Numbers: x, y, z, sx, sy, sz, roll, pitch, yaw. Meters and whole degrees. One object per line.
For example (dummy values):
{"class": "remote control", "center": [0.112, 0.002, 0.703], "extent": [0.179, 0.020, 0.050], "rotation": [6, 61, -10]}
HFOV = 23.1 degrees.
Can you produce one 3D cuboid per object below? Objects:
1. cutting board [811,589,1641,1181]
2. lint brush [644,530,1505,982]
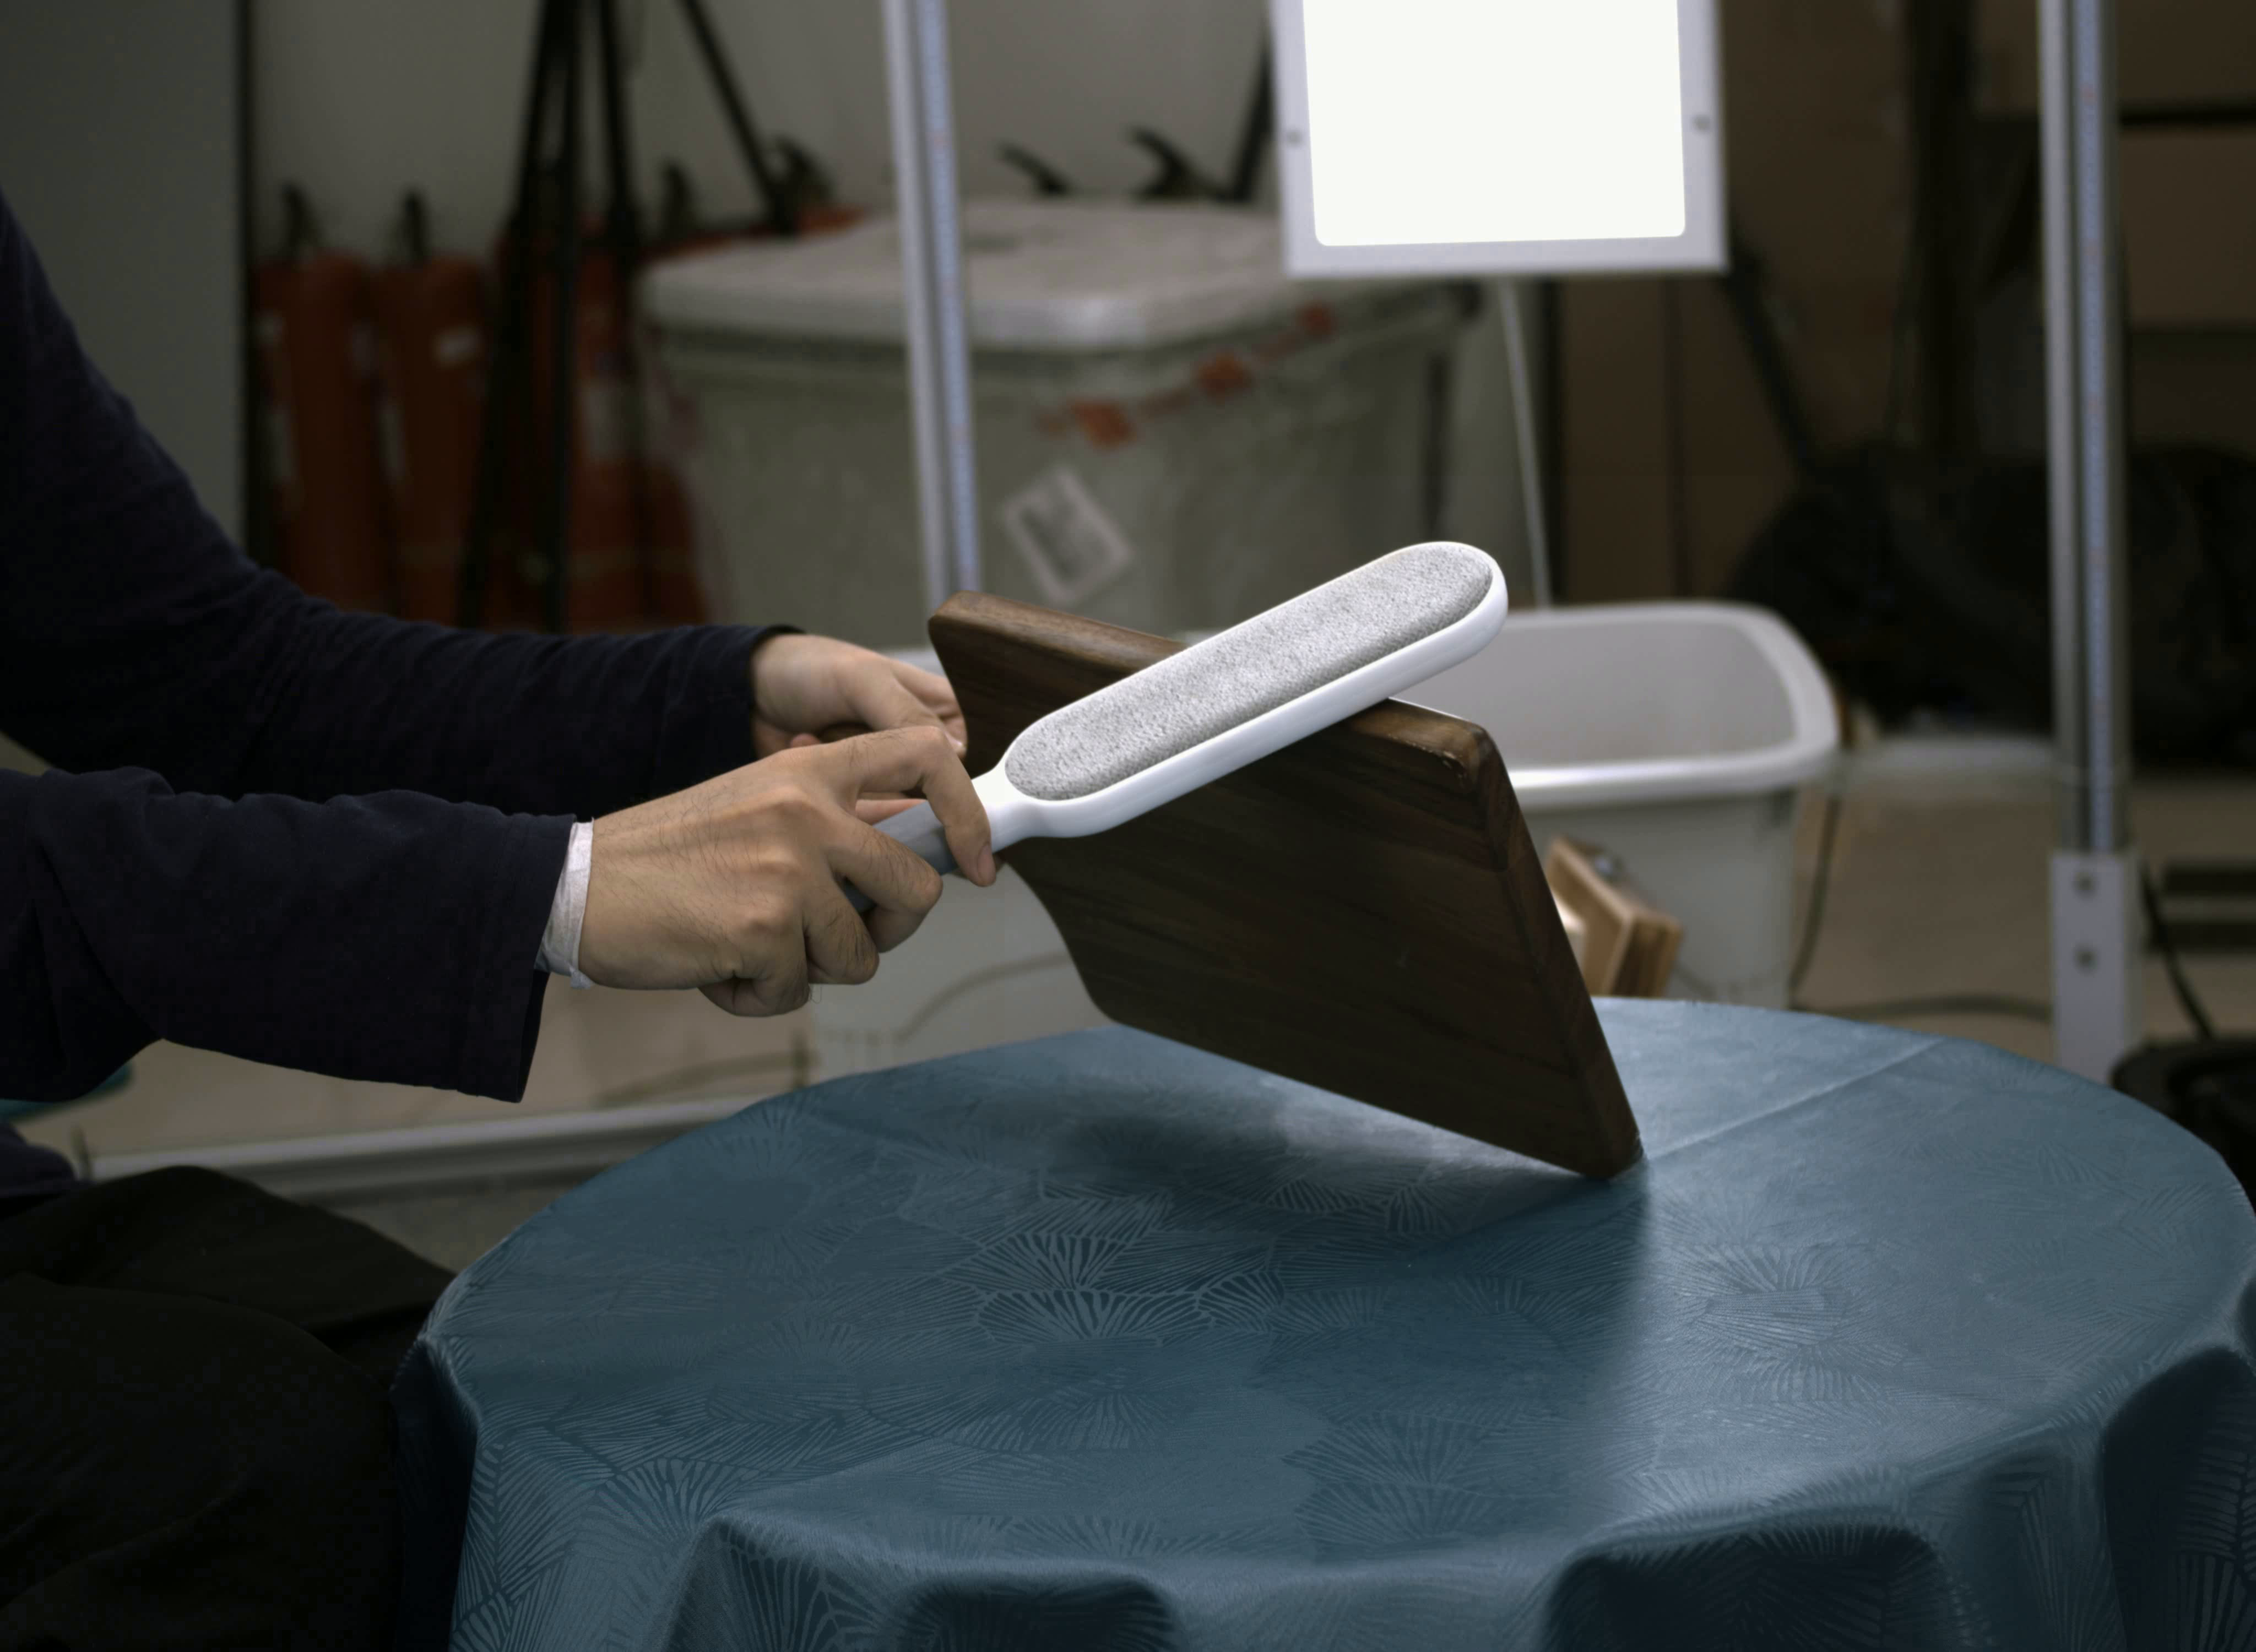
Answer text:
{"class": "cutting board", "center": [0.017, 0.009, 1.931], "extent": [0.359, 0.200, 0.023], "rotation": [16, 51, 43]}
{"class": "lint brush", "center": [-0.017, -0.022, 1.794], "extent": [0.307, 0.021, 0.060], "rotation": [-25, 40, -4]}
